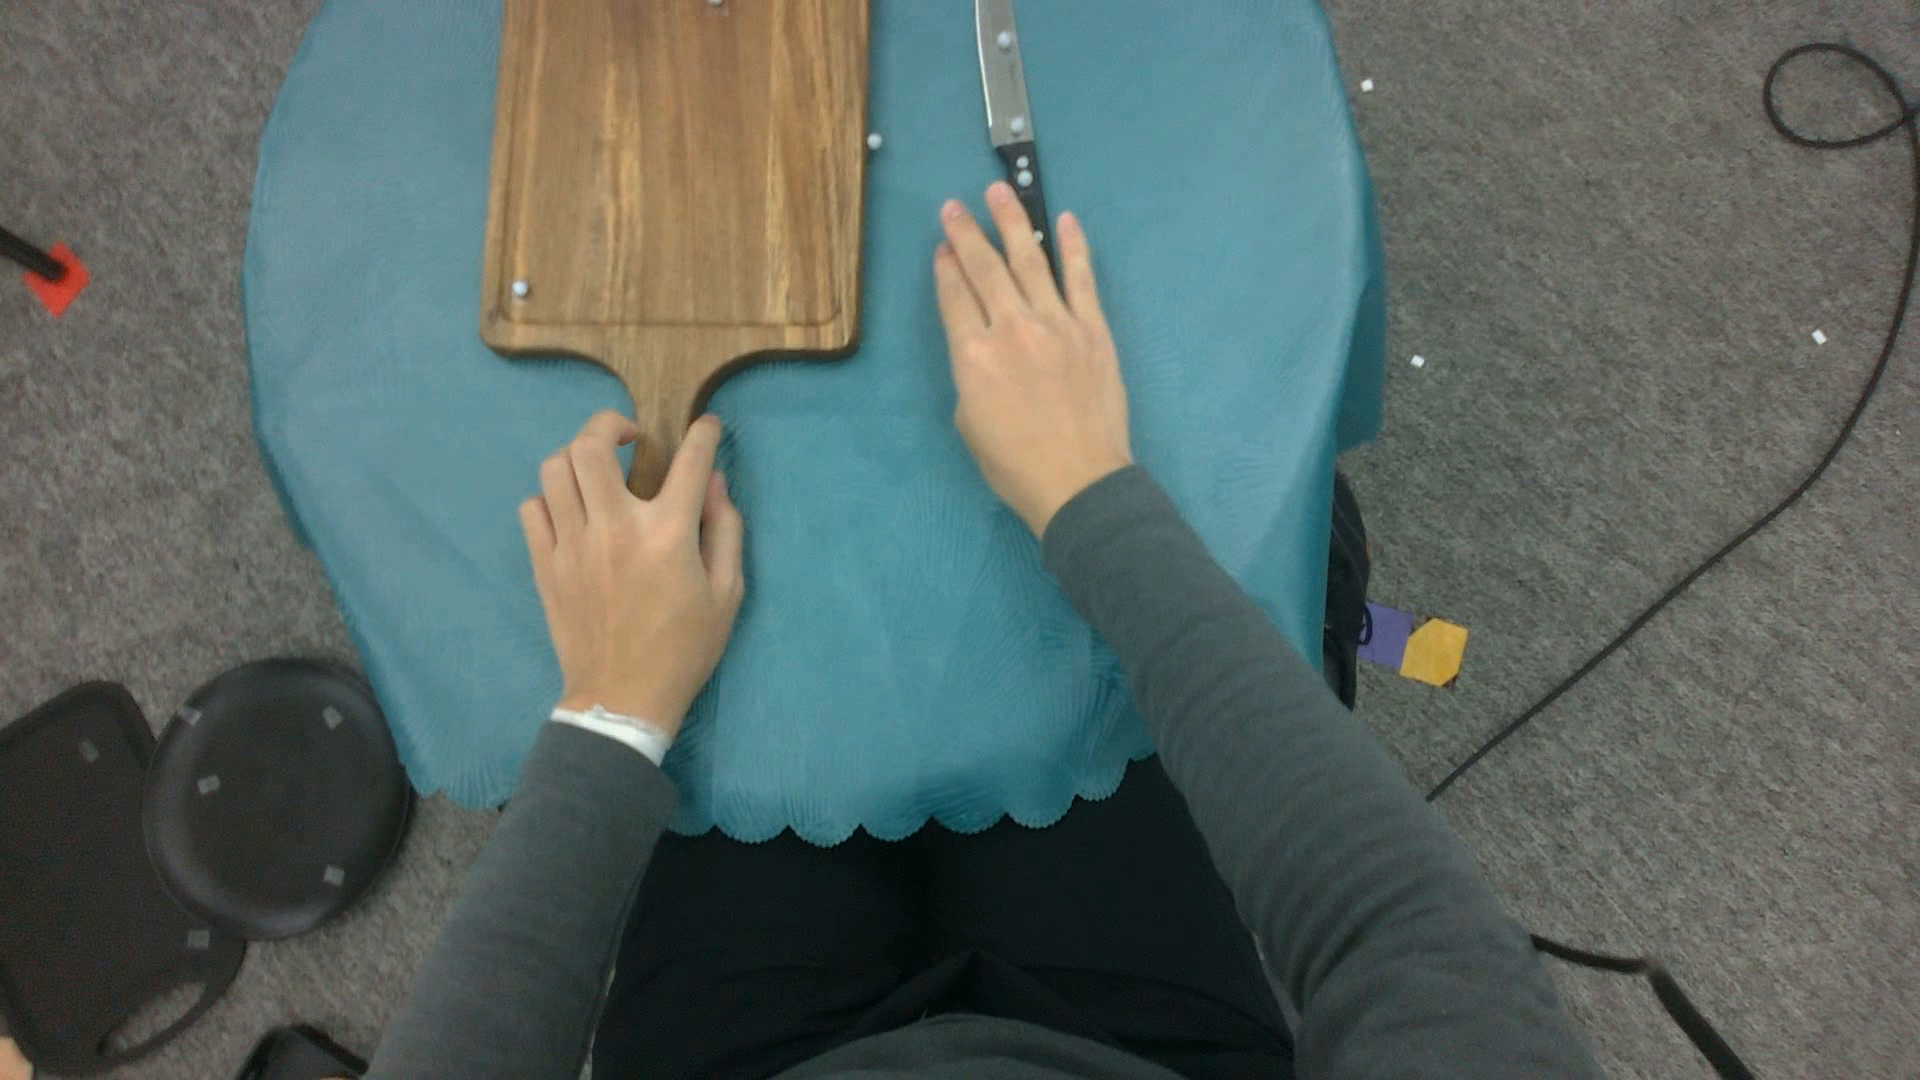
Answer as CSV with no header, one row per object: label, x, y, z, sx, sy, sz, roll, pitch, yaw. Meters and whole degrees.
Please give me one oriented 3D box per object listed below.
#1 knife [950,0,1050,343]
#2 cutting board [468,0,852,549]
knife,0.019,-0.217,0.735,0.024,0.016,0.238,-10,77,-2
cutting board,-0.158,-0.170,0.728,0.201,0.023,0.352,0,80,2
